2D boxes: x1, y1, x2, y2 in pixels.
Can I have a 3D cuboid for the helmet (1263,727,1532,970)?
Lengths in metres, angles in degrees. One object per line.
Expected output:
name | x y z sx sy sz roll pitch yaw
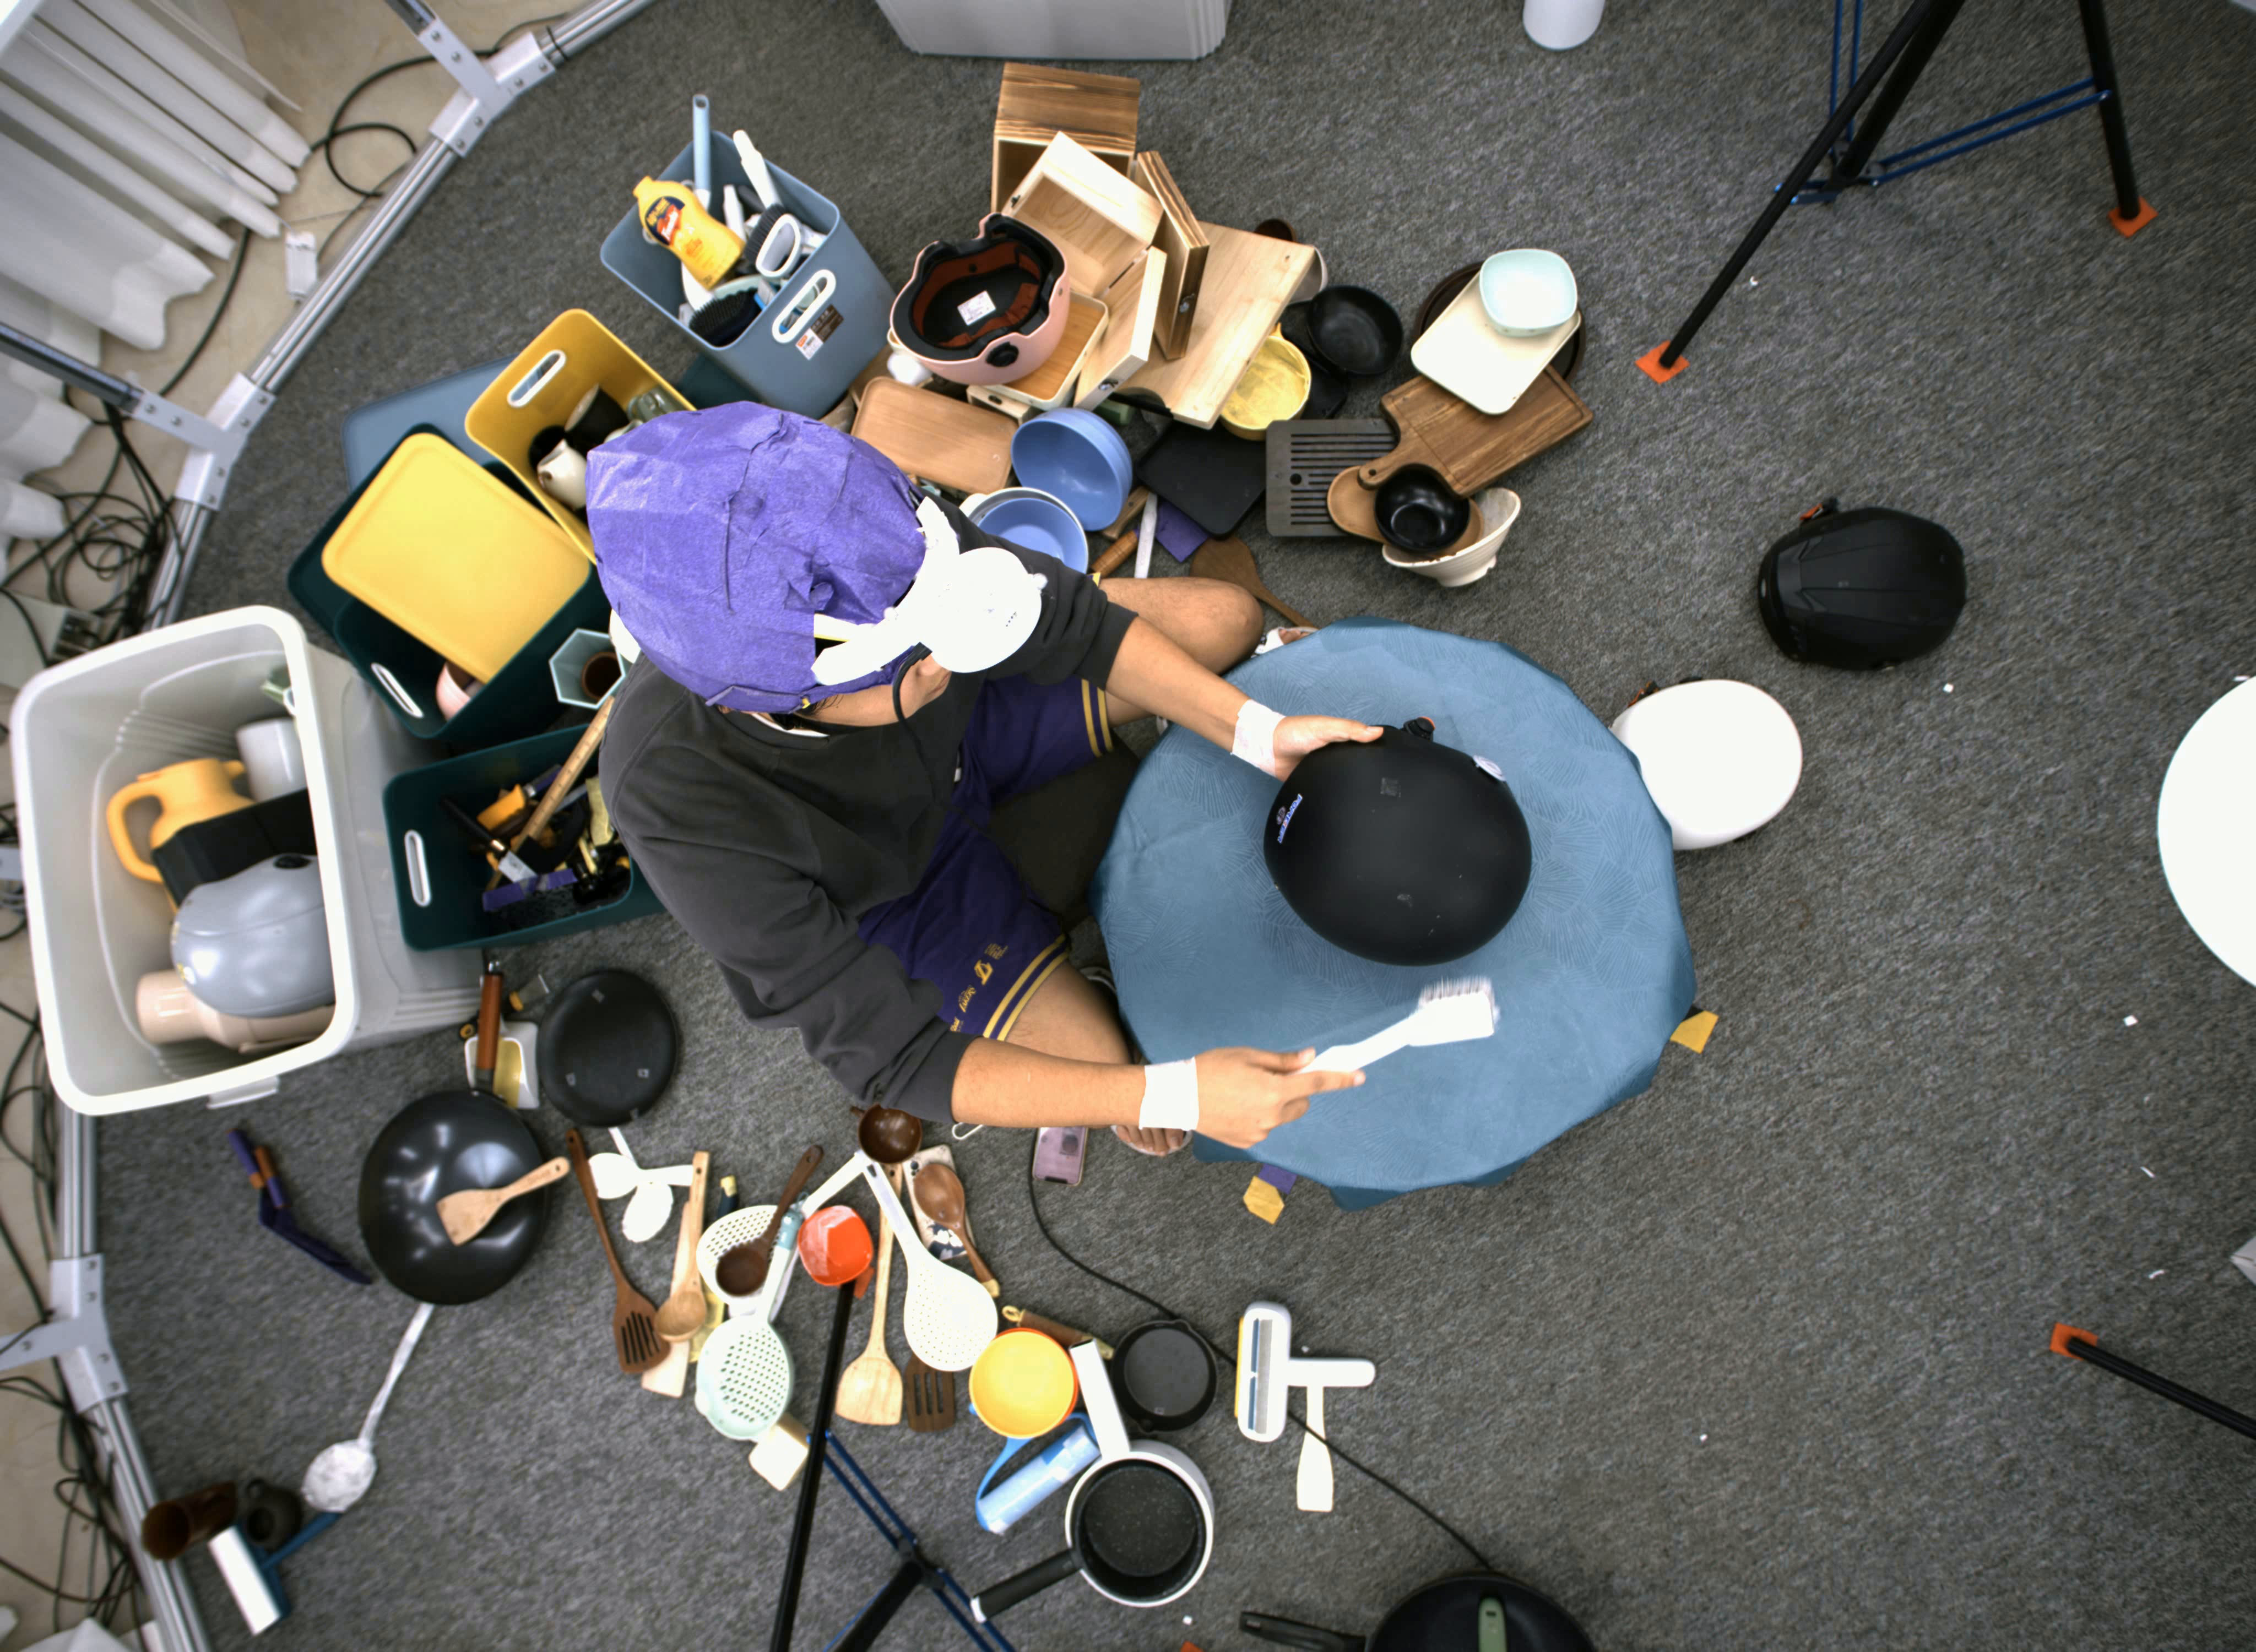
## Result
helmet | 0.271 0.037 1.334 0.274 0.163 0.234 23 114 -11

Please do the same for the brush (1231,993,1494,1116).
brush | 0.206 0.199 1.223 0.245 0.049 0.035 -20 116 9
